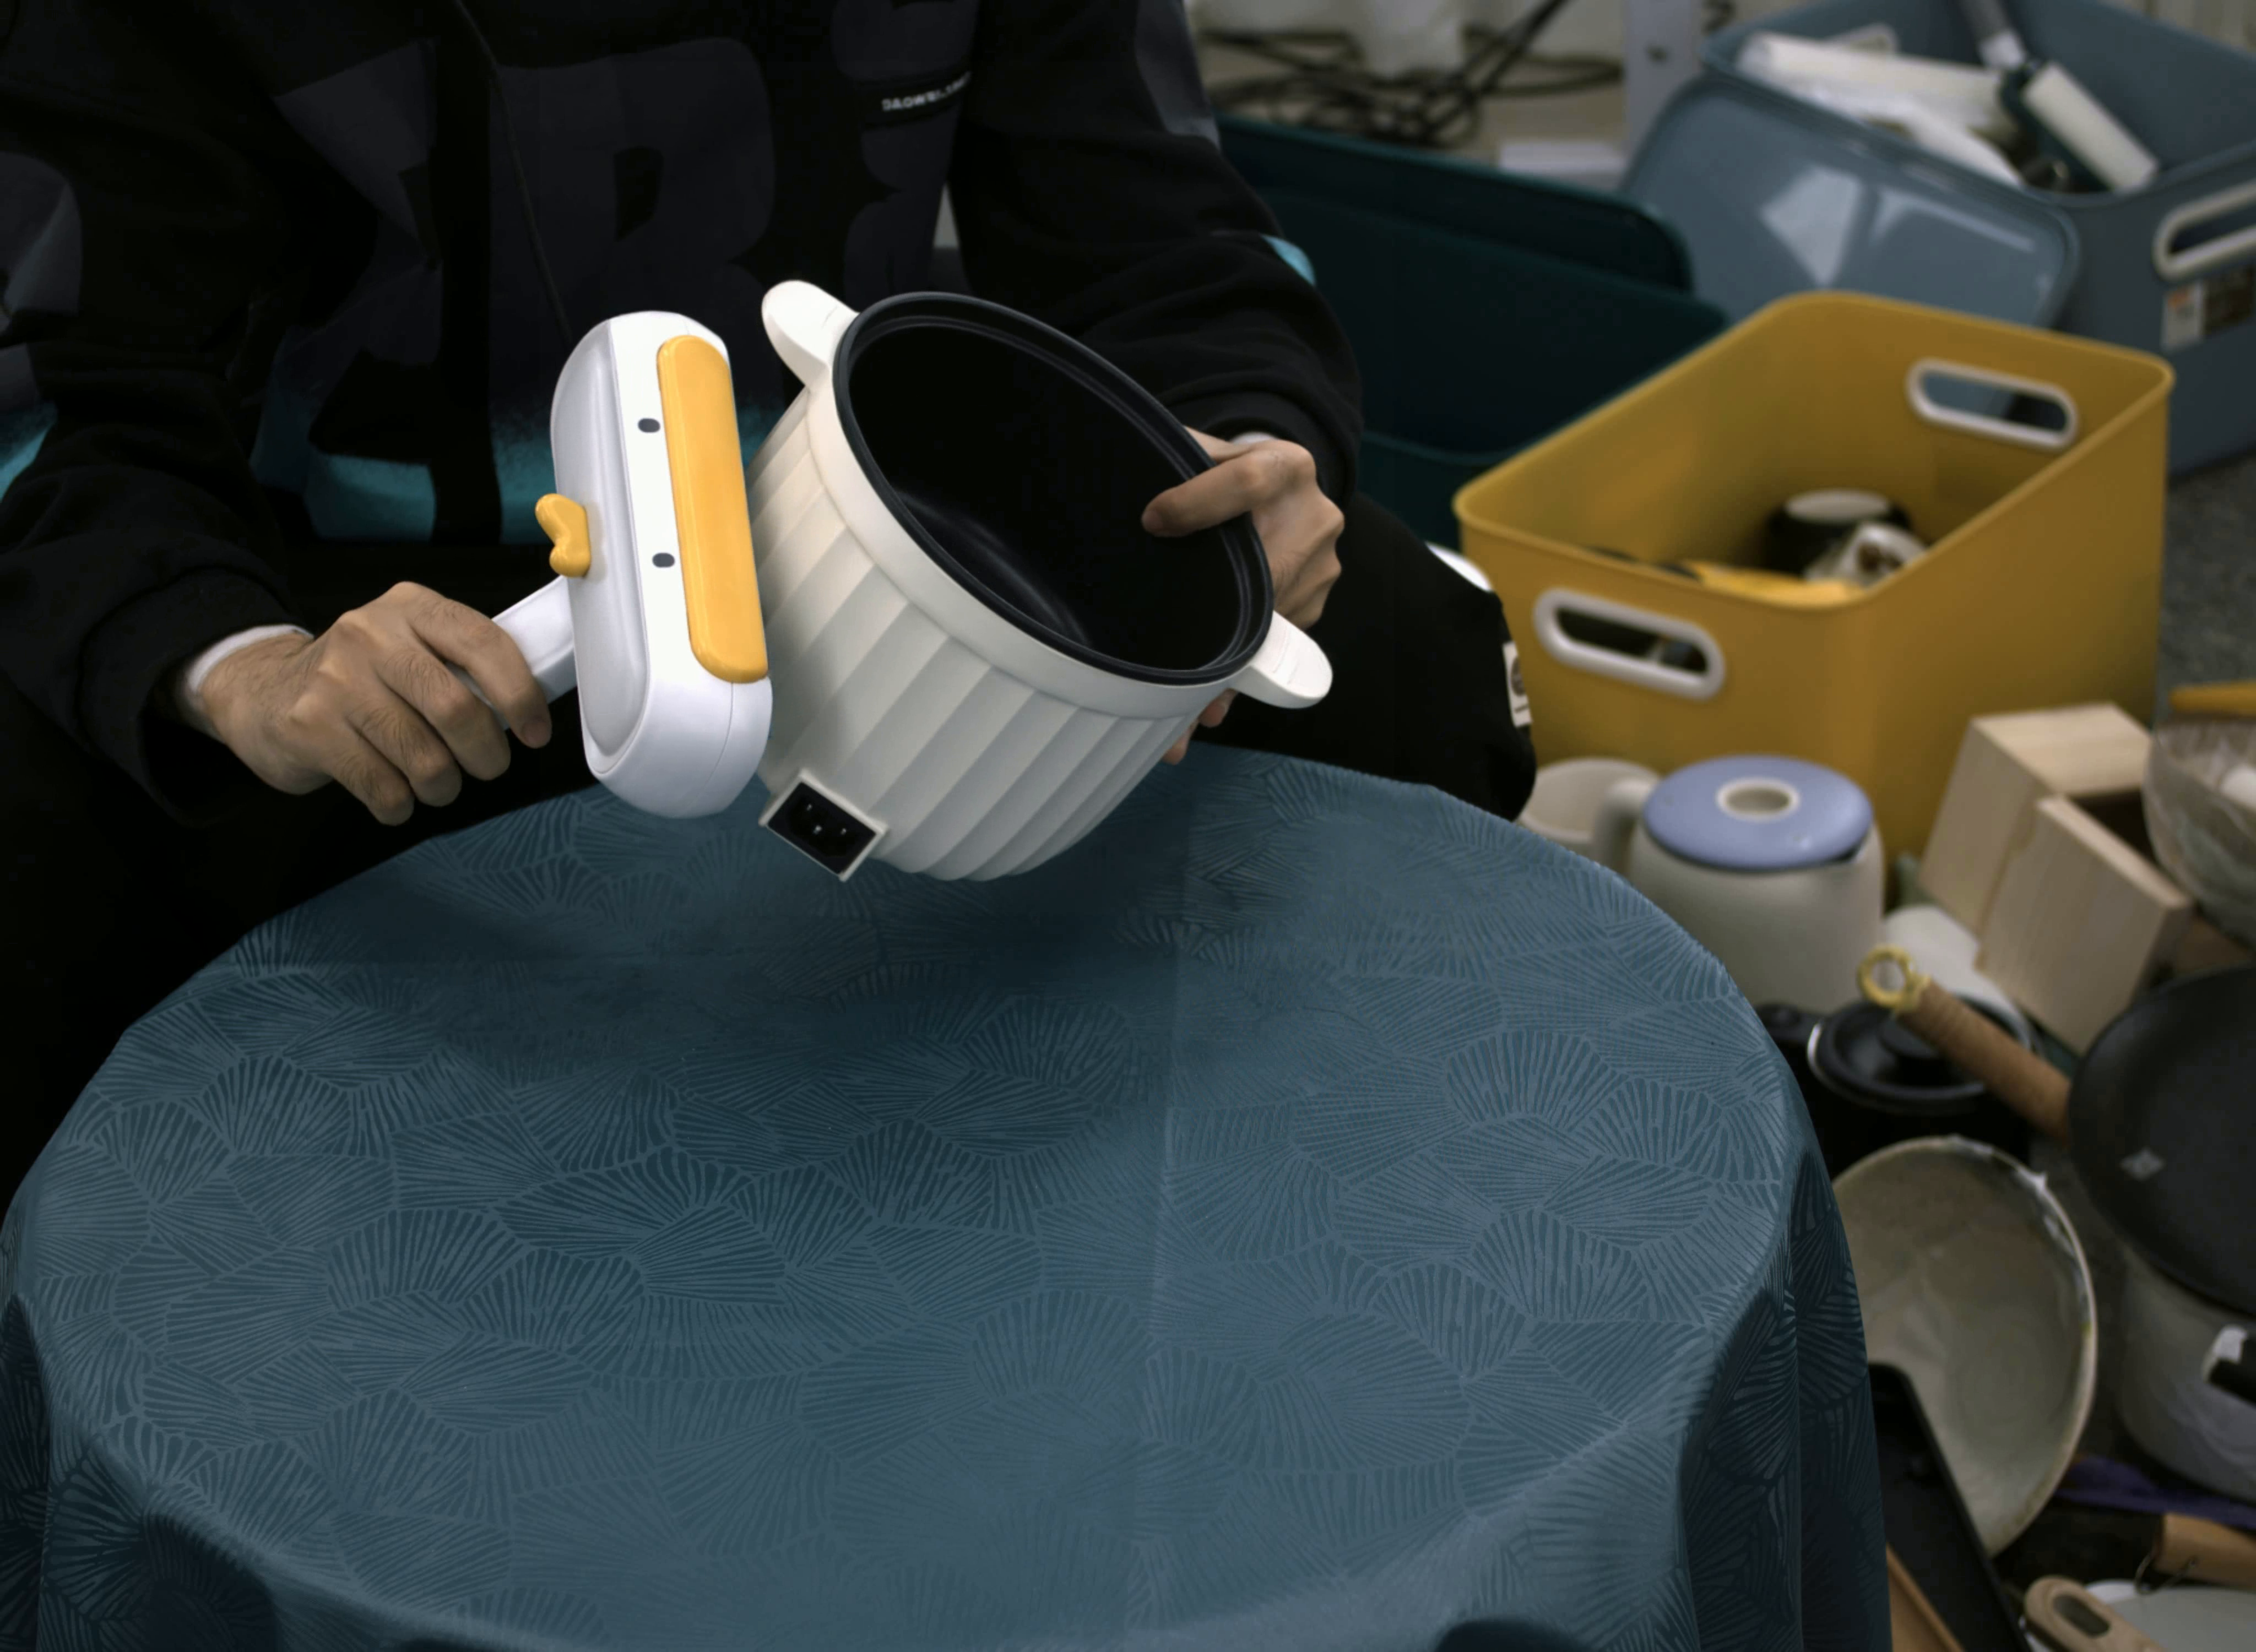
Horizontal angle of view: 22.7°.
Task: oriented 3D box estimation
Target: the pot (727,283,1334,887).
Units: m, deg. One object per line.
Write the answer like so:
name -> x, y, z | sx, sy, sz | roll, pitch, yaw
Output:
pot -> -0.060, -0.079, 1.978 | 0.239, 0.140, 0.194 | 35, 34, -10

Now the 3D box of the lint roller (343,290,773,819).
lint roller -> -0.200, -0.066, 1.947 | 0.074, 0.189, 0.196 | 15, 45, -37
